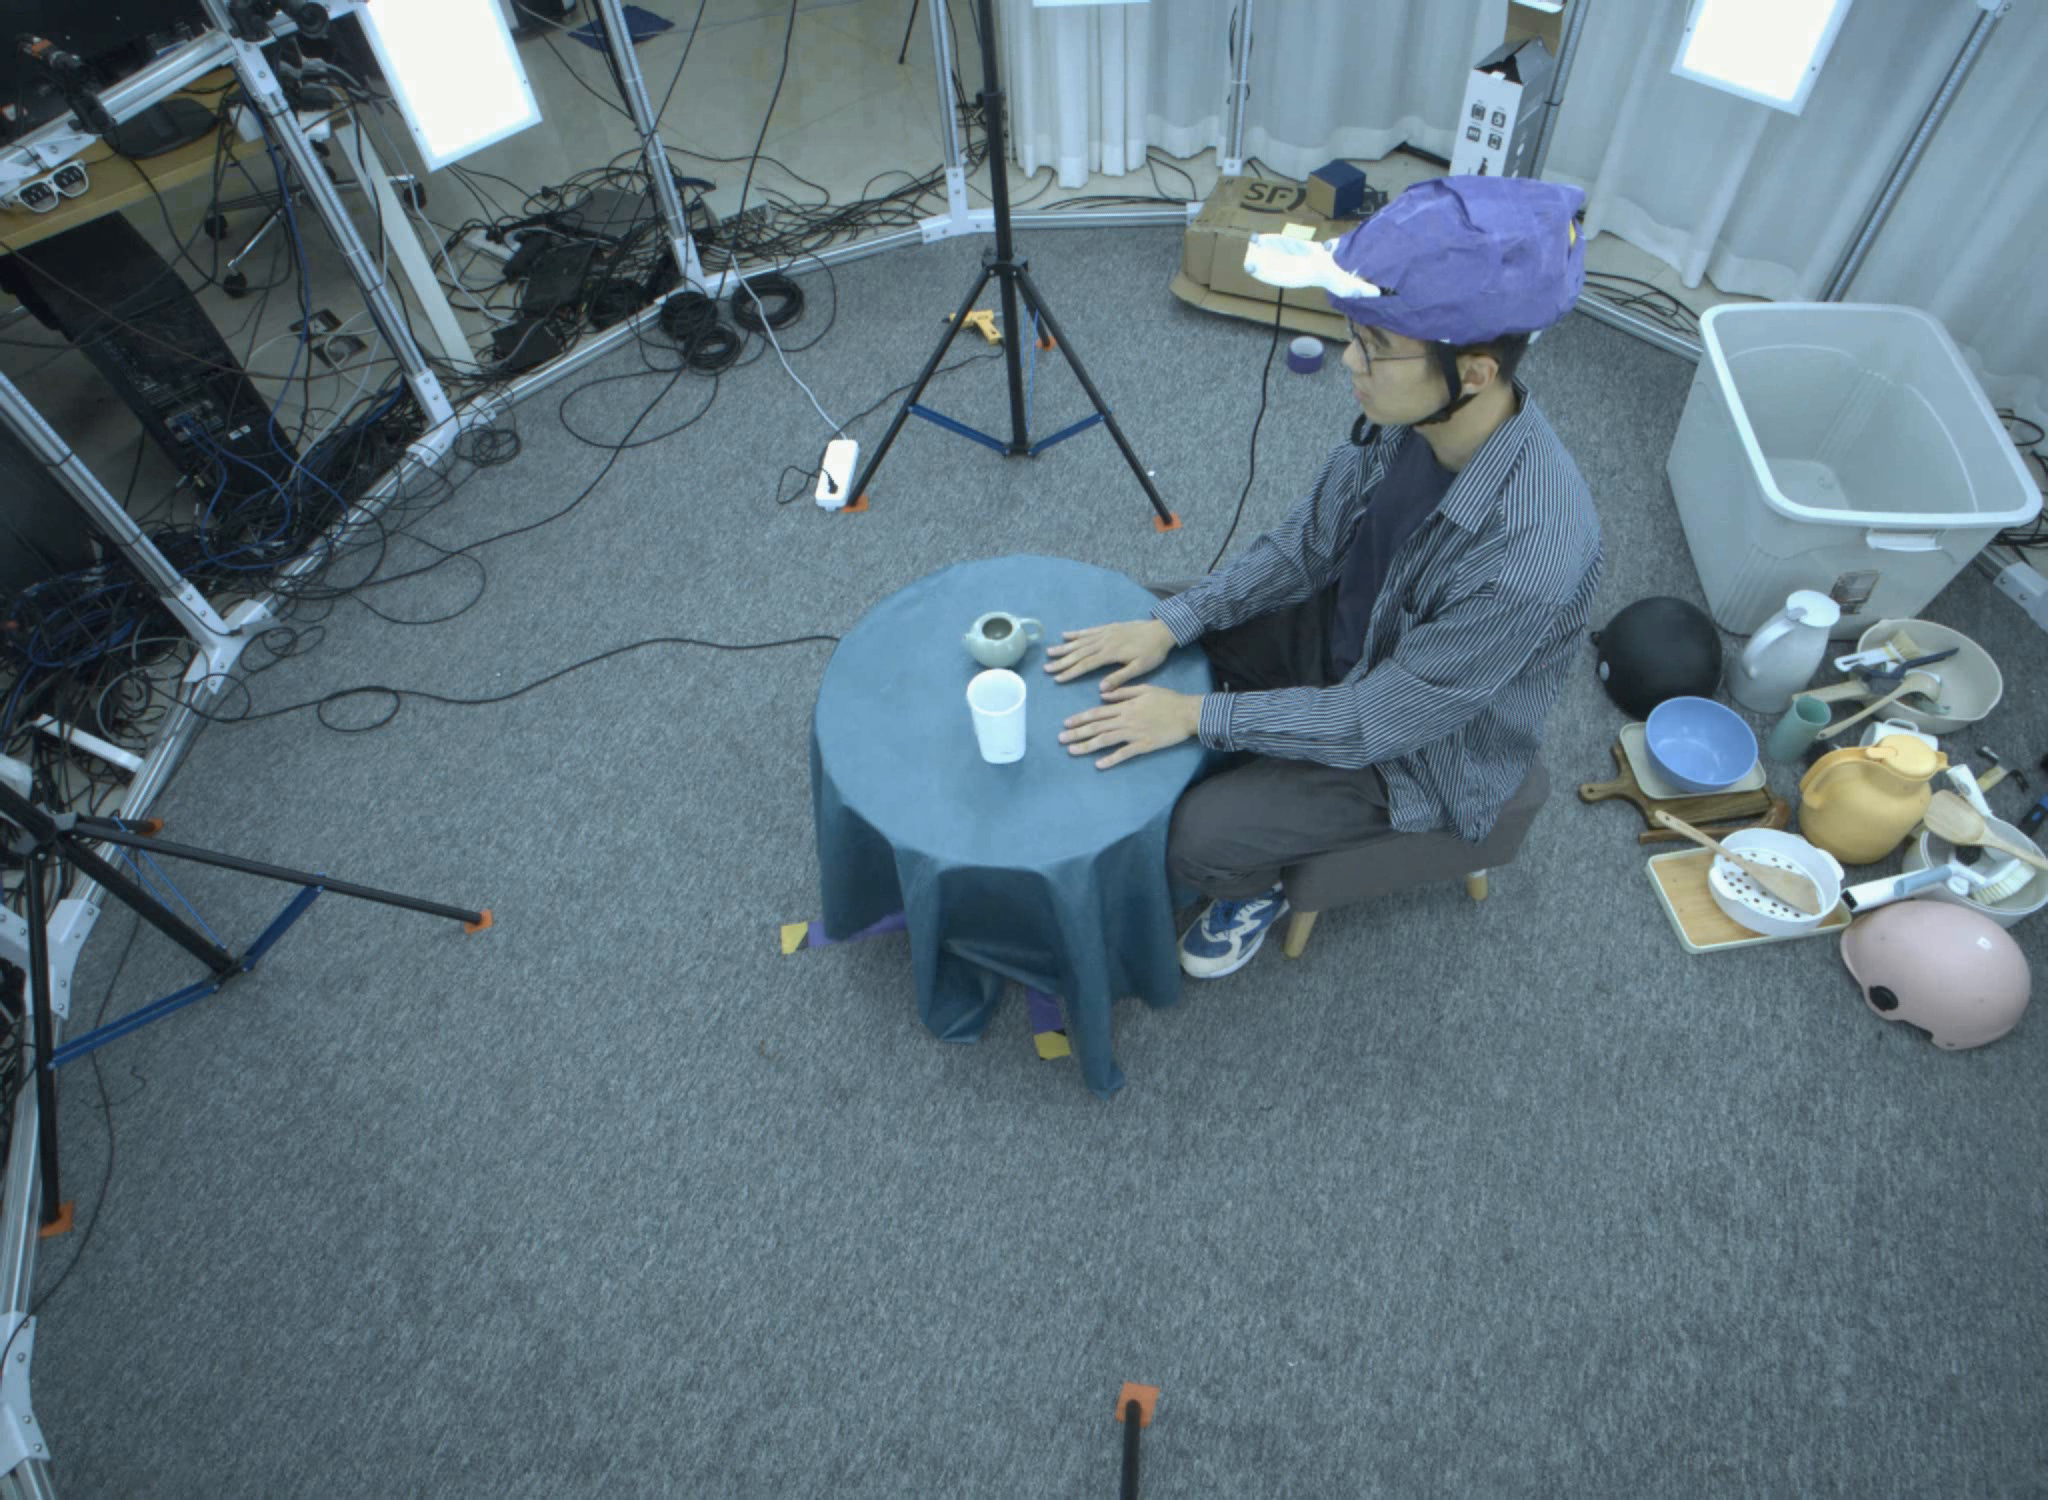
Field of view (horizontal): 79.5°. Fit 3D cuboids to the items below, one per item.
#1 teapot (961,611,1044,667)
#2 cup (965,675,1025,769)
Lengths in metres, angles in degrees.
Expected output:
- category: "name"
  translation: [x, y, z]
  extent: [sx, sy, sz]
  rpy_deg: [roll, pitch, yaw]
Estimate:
- category: "teapot"
  translation: [-0.032, -0.171, 1.879]
  extent: [0.129, 0.061, 0.090]
  rpy_deg: [-12, 53, -7]
- category: "cup"
  translation: [-0.036, -0.035, 1.738]
  extent: [0.081, 0.127, 0.081]
  rpy_deg: [-1, 54, 3]
